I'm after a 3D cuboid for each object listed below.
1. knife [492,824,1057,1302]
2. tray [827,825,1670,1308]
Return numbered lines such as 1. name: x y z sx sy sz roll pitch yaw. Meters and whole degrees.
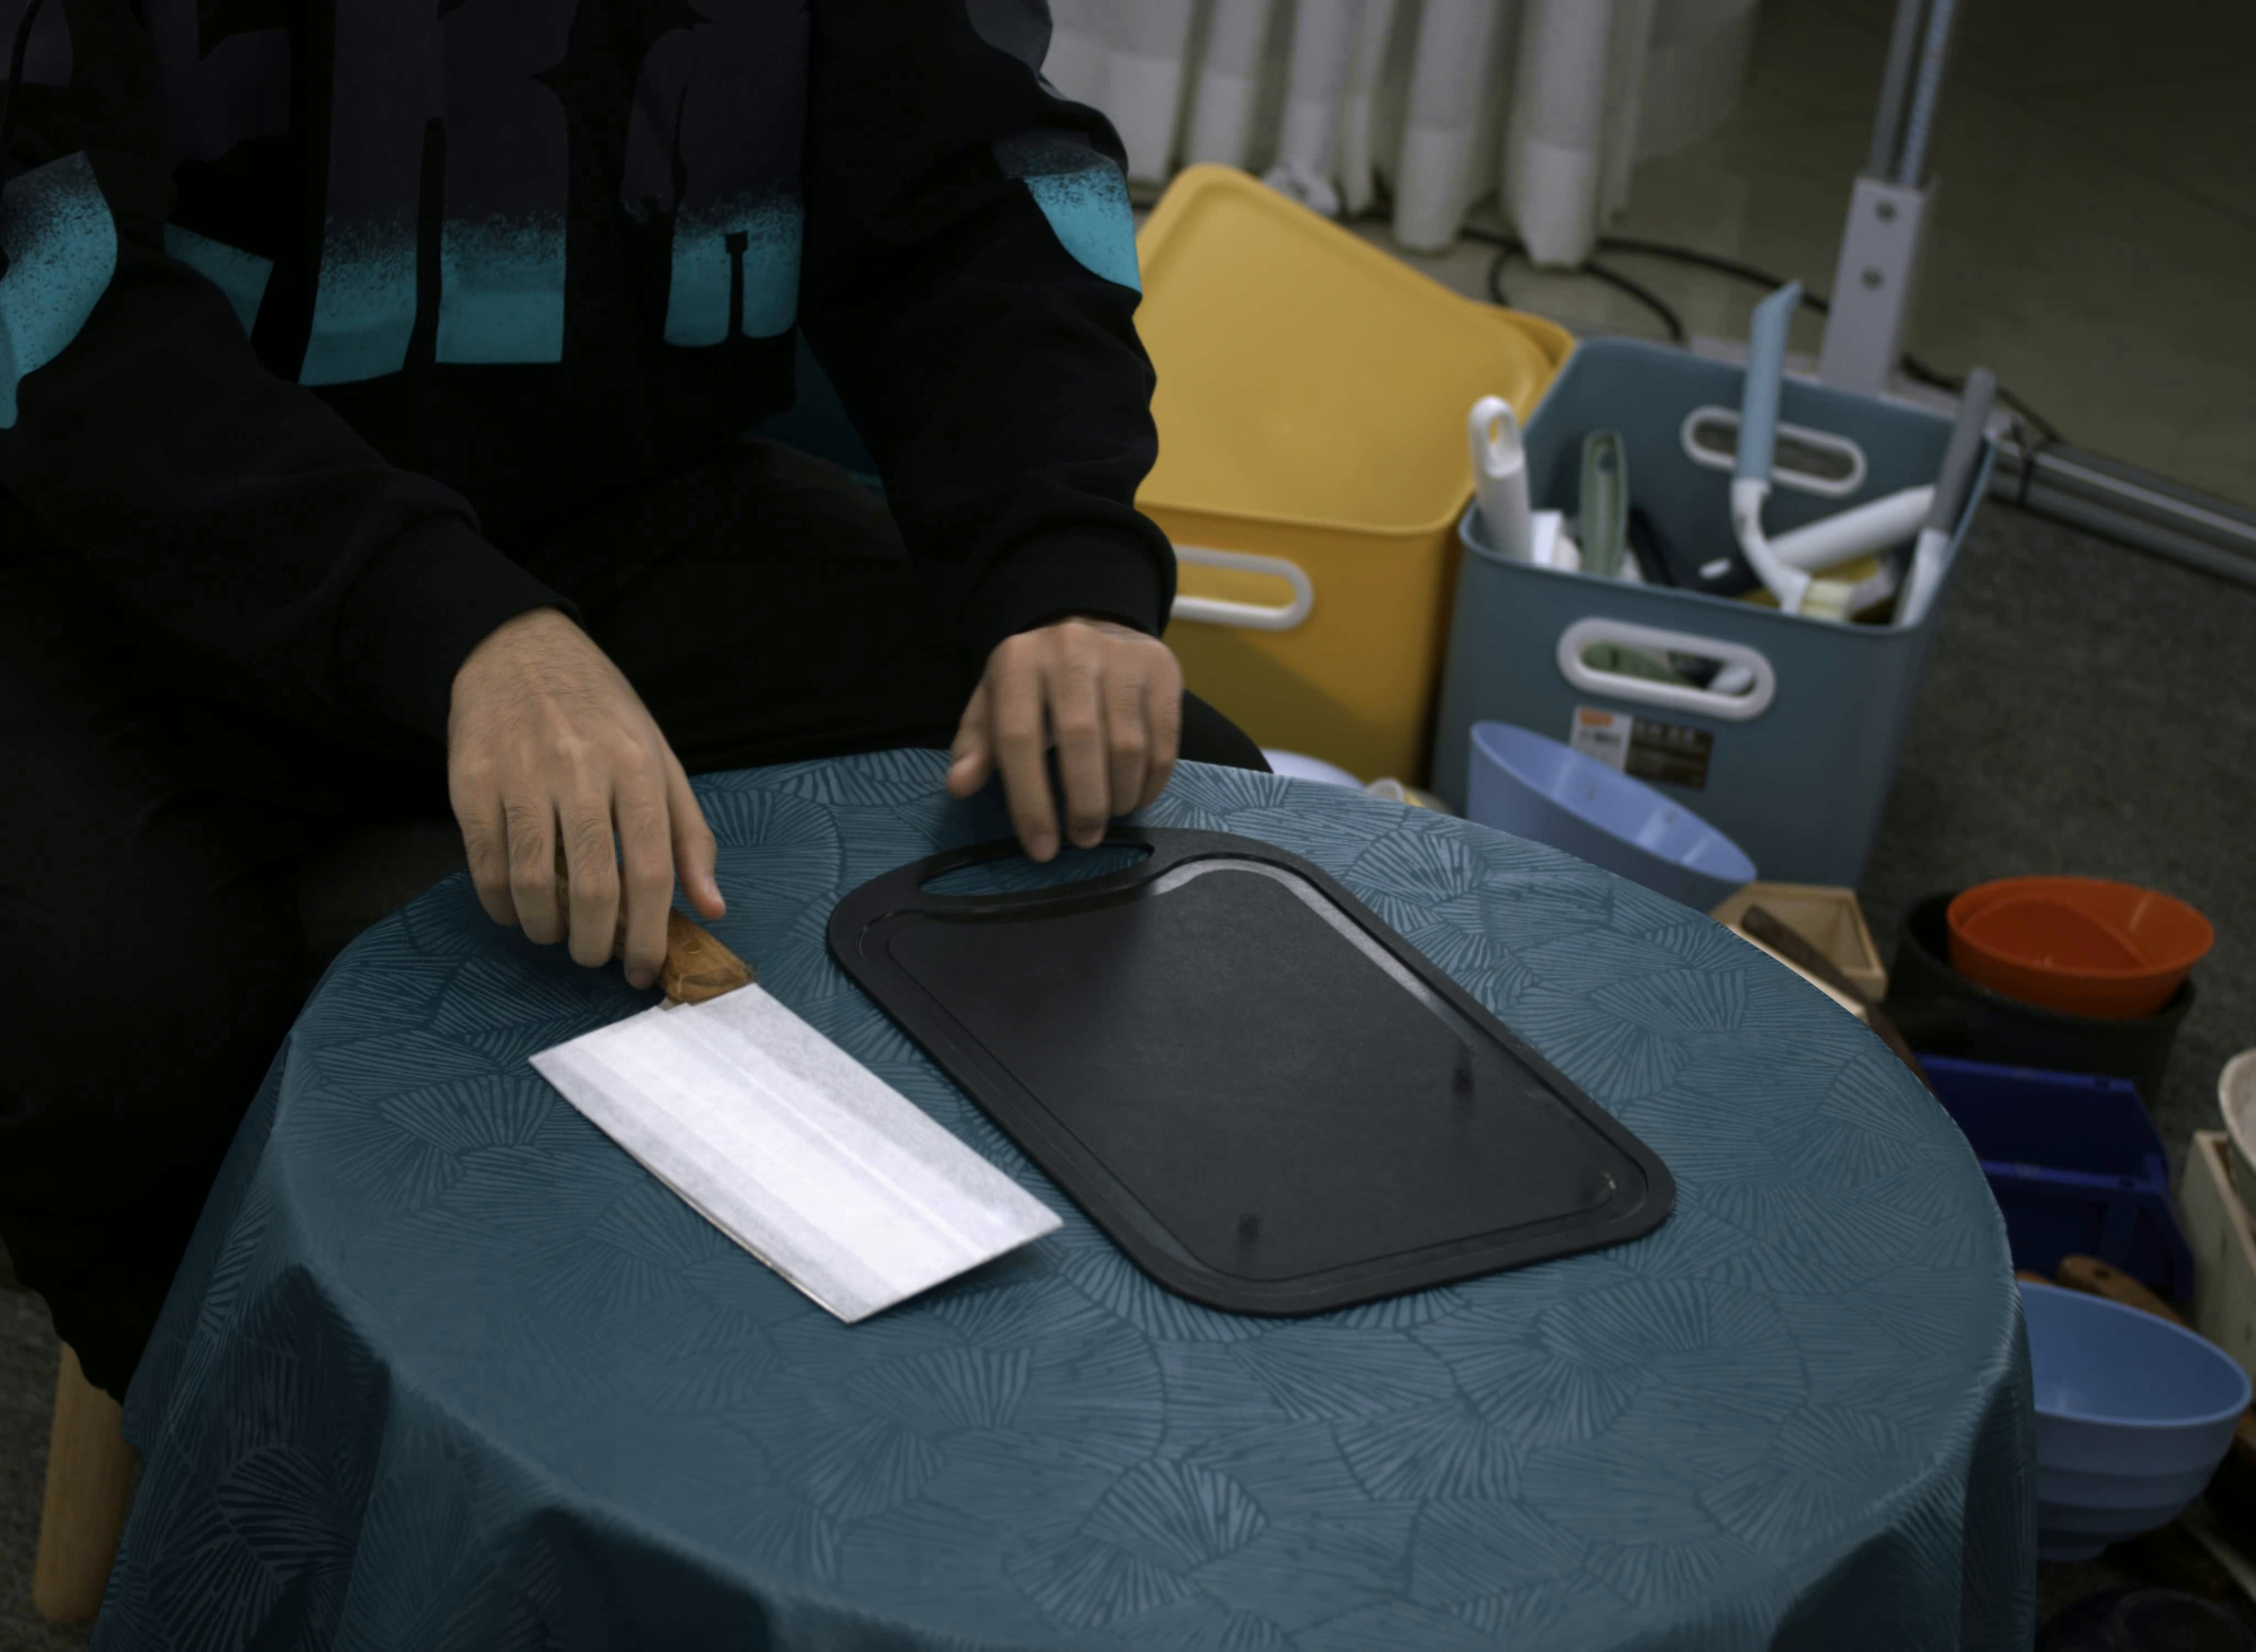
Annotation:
1. knife: -0.147 0.081 1.834 0.092 0.021 0.308 -20 38 -33
2. tray: 0.034 0.076 1.894 0.210 0.010 0.328 -9 31 -28
